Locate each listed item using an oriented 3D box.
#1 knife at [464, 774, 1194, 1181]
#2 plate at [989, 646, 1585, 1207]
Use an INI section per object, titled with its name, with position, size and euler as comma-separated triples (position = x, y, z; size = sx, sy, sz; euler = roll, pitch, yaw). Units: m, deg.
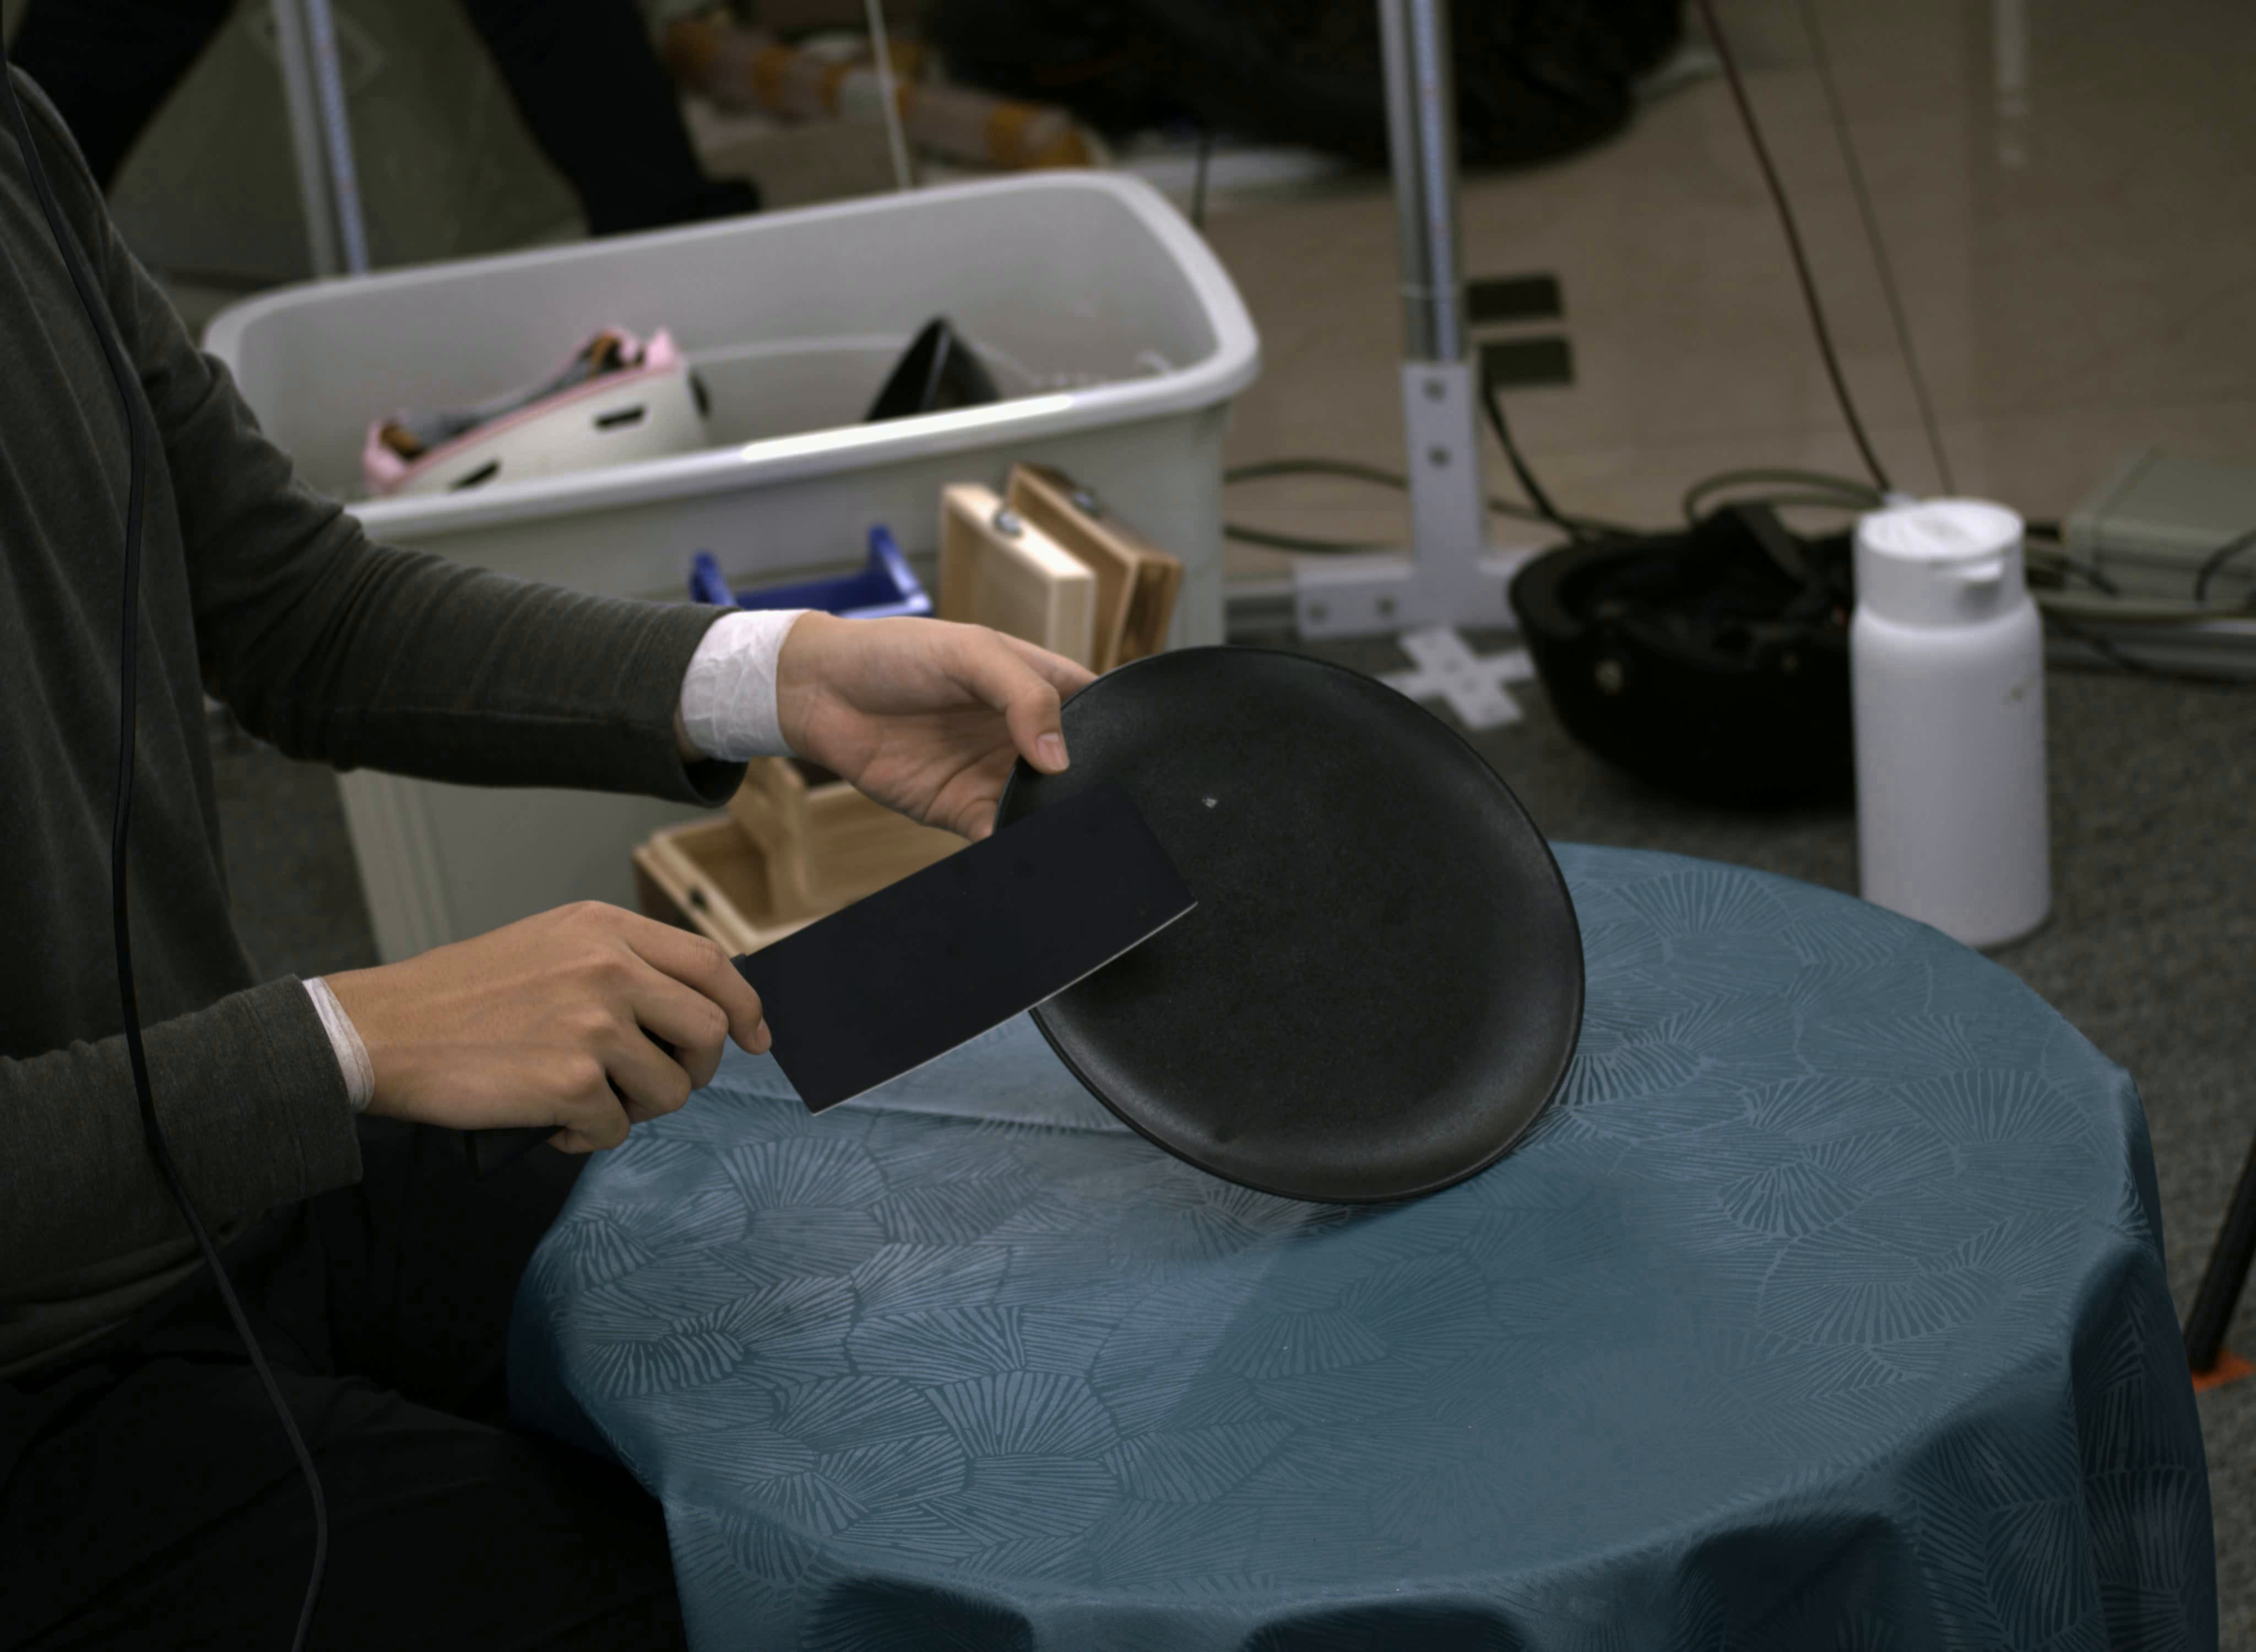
[knife]
position = -0.110, 0.062, 2.079
size = 0.300, 0.021, 0.080
euler = -22, 75, -25
[plate]
position = 0.059, 0.040, 2.168
size = 0.244, 0.024, 0.240
euler = 10, 59, -17
